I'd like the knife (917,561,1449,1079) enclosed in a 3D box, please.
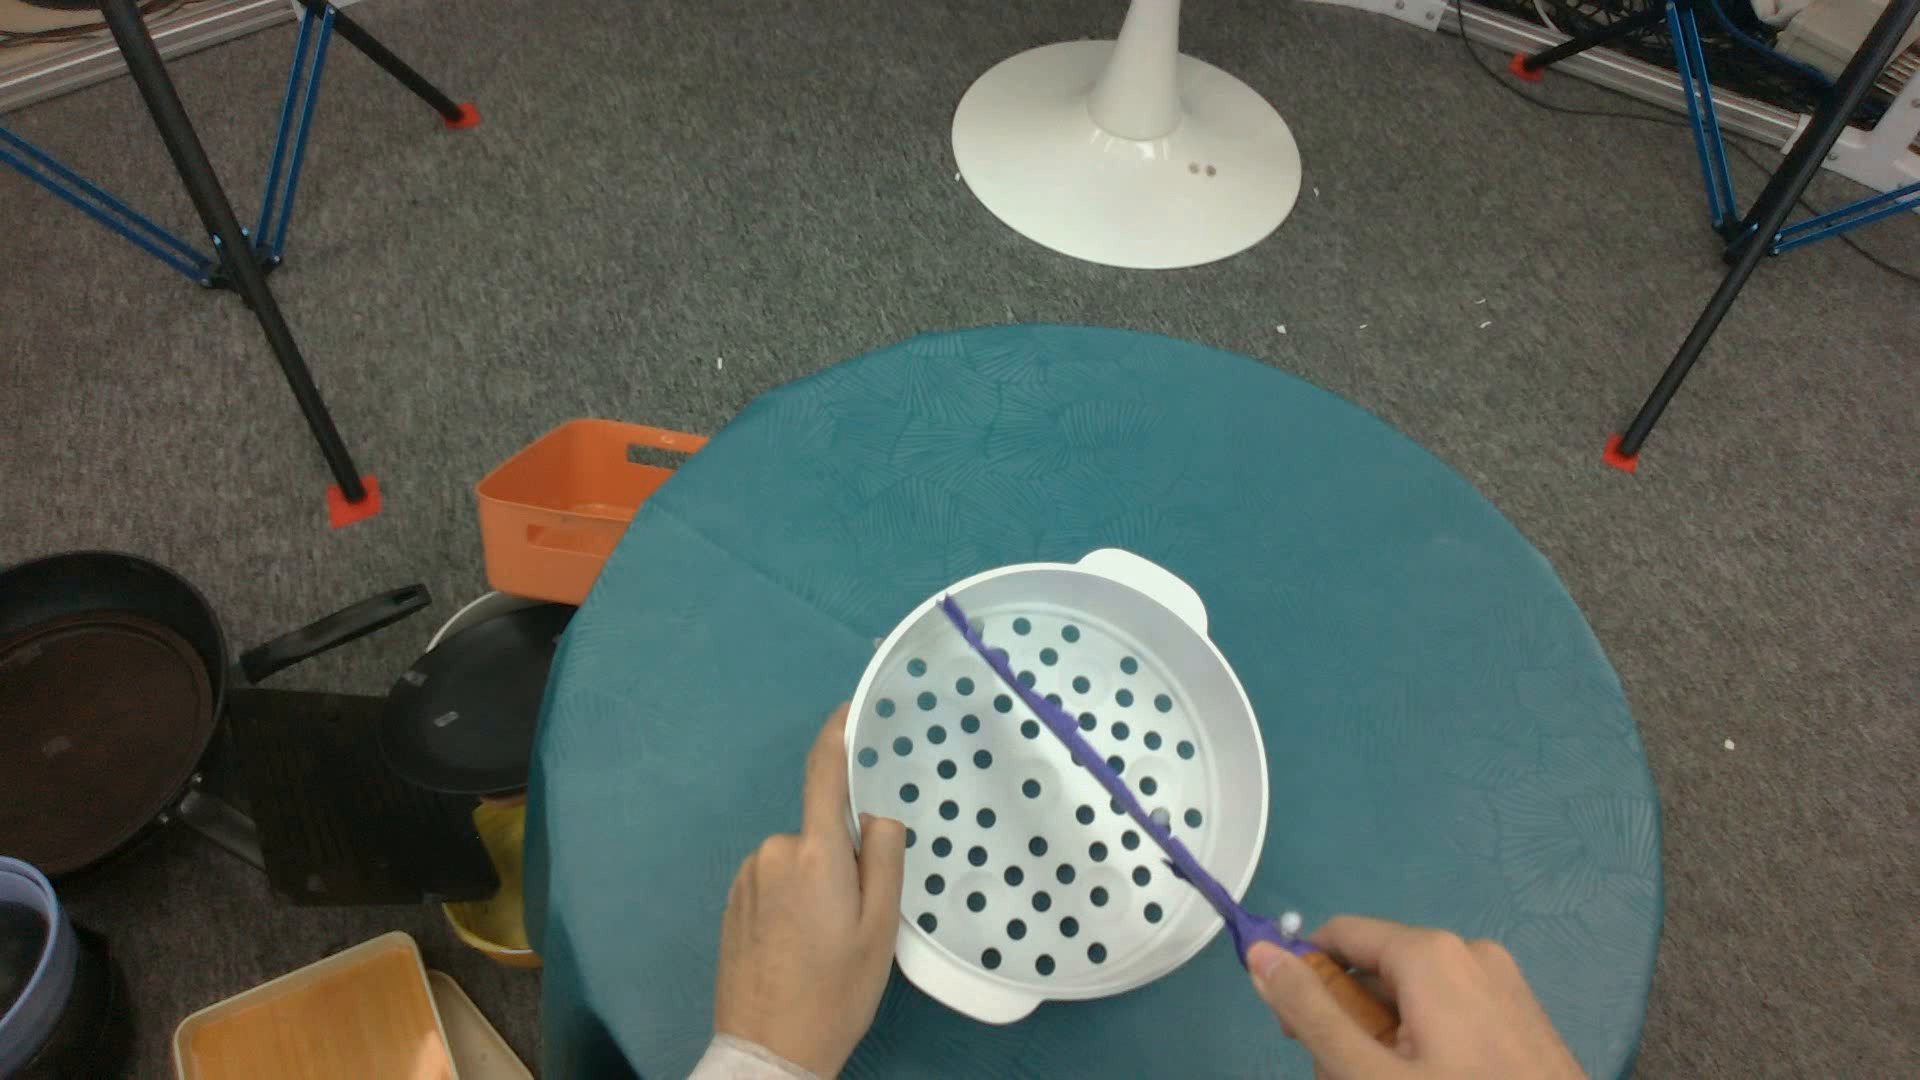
[{"bbox_3d":[0.087,0.122,0.559,0.032,0.103,0.316,-41,54,-2],"label":"knife"}]

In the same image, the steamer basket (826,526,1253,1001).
[{"bbox_3d":[0.035,0.105,0.662,0.202,0.069,0.231,29,70,0],"label":"steamer basket"}]
